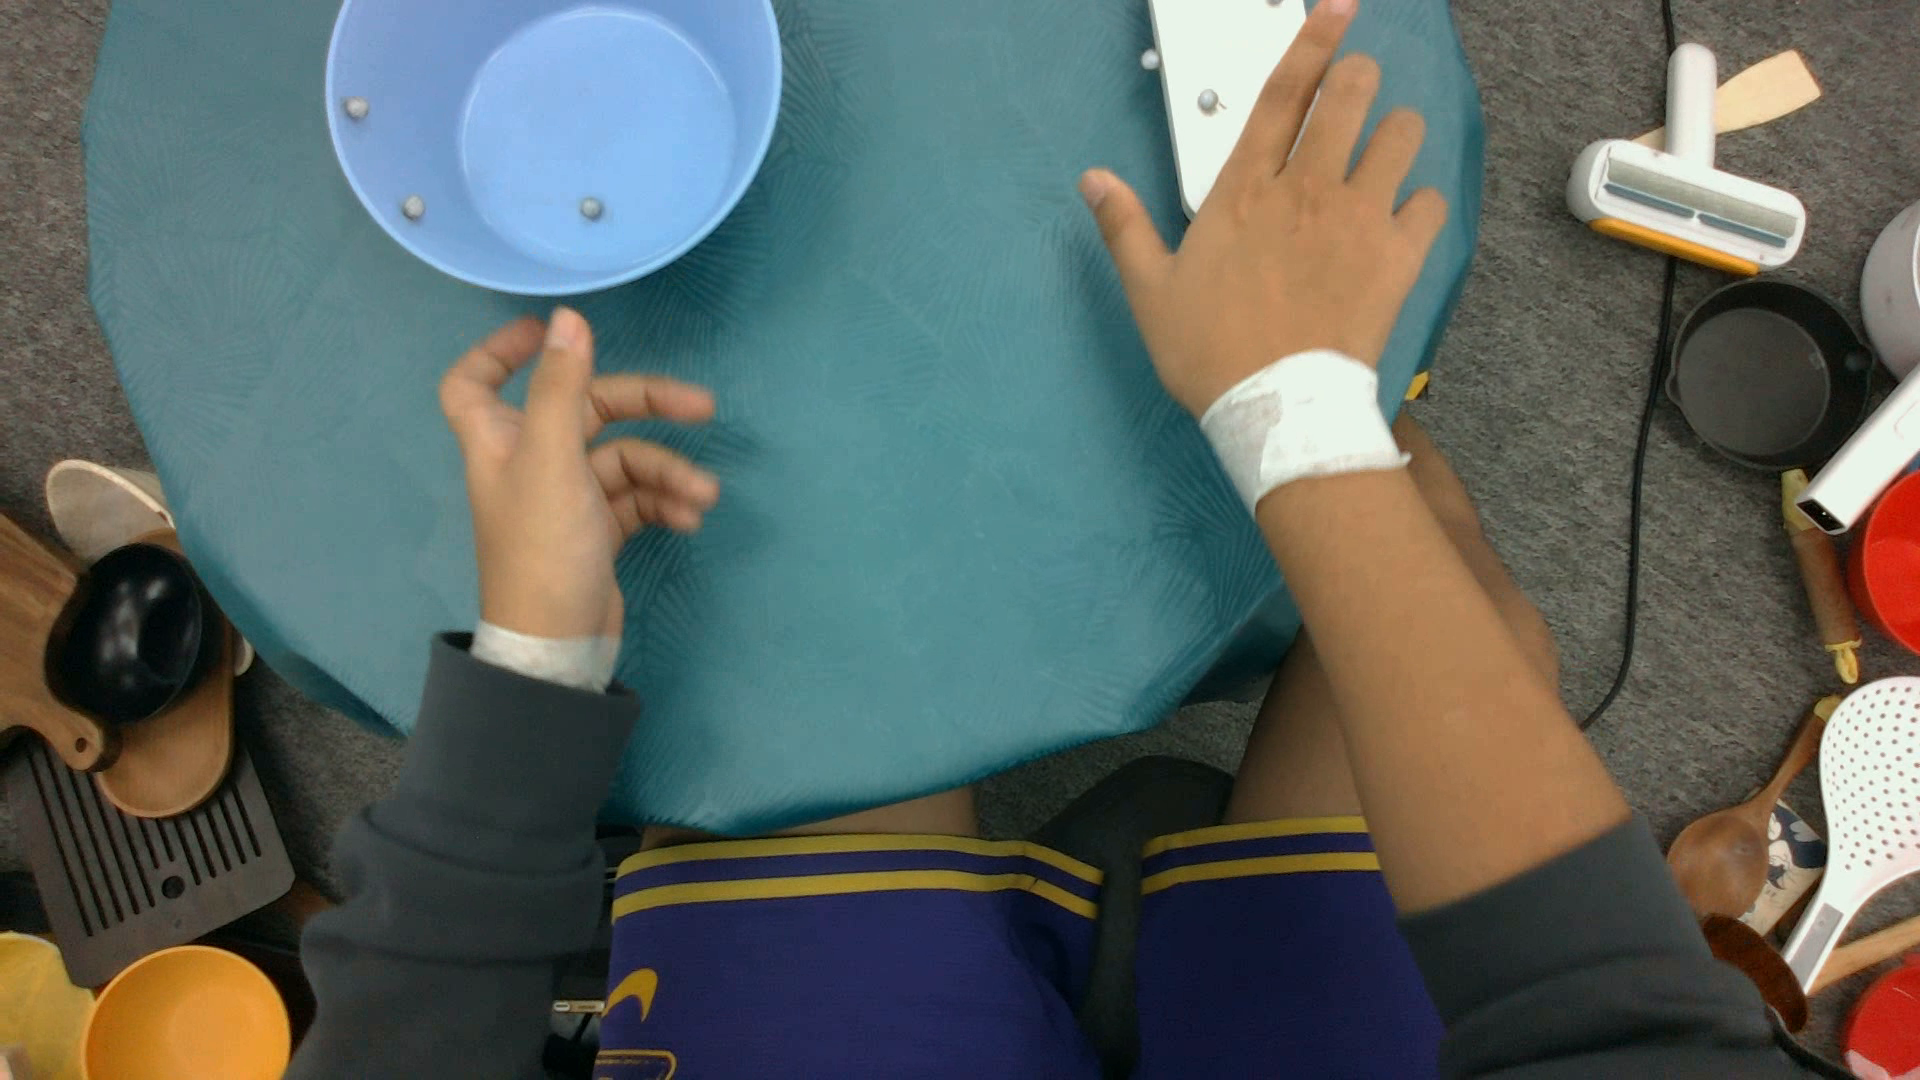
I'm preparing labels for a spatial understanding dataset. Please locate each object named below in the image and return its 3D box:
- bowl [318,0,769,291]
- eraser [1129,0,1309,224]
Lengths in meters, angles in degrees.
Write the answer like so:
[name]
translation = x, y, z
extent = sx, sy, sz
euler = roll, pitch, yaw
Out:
[bowl]
translation = -0.160, -0.178, 0.563
extent = 0.176, 0.070, 0.176
euler = 0, 82, 2
[eraser]
translation = 0.106, -0.200, 0.583
extent = 0.063, 0.034, 0.131
euler = -8, 80, 1
